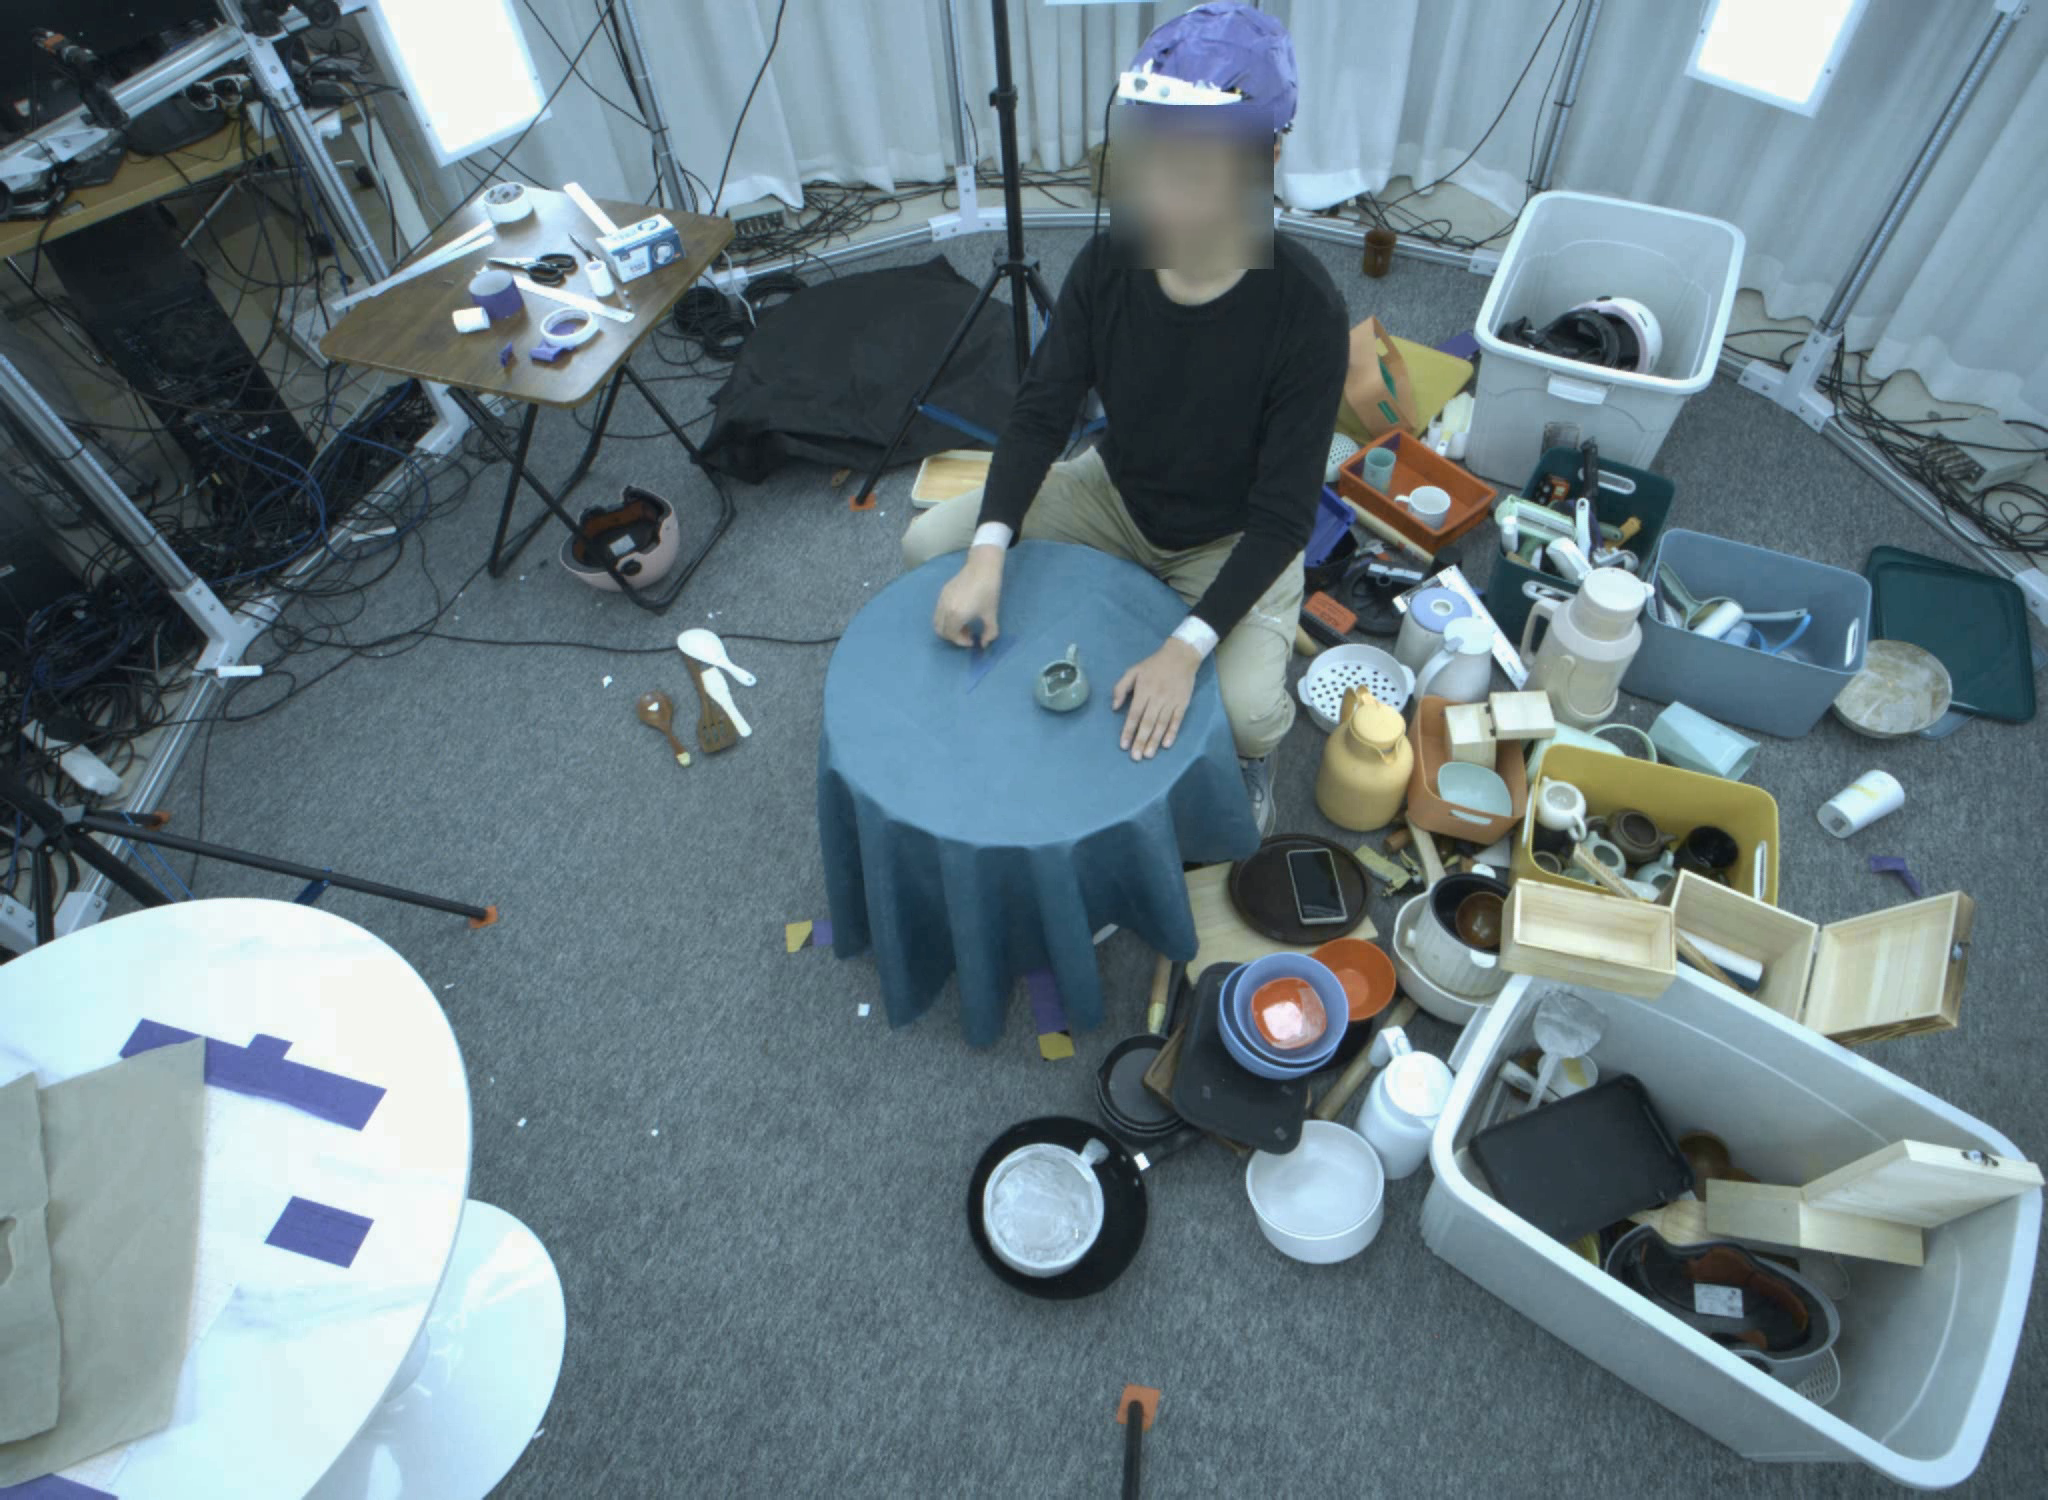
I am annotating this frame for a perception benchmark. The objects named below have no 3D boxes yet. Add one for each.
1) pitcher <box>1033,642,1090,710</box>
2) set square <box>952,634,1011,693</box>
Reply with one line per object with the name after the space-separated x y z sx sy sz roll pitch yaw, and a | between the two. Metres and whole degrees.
0.058 -0.107 1.827 0.083 0.057 0.112 16 57 11 | pitcher
-0.082 -0.142 1.888 0.060 0.006 0.132 33 63 20 | set square
